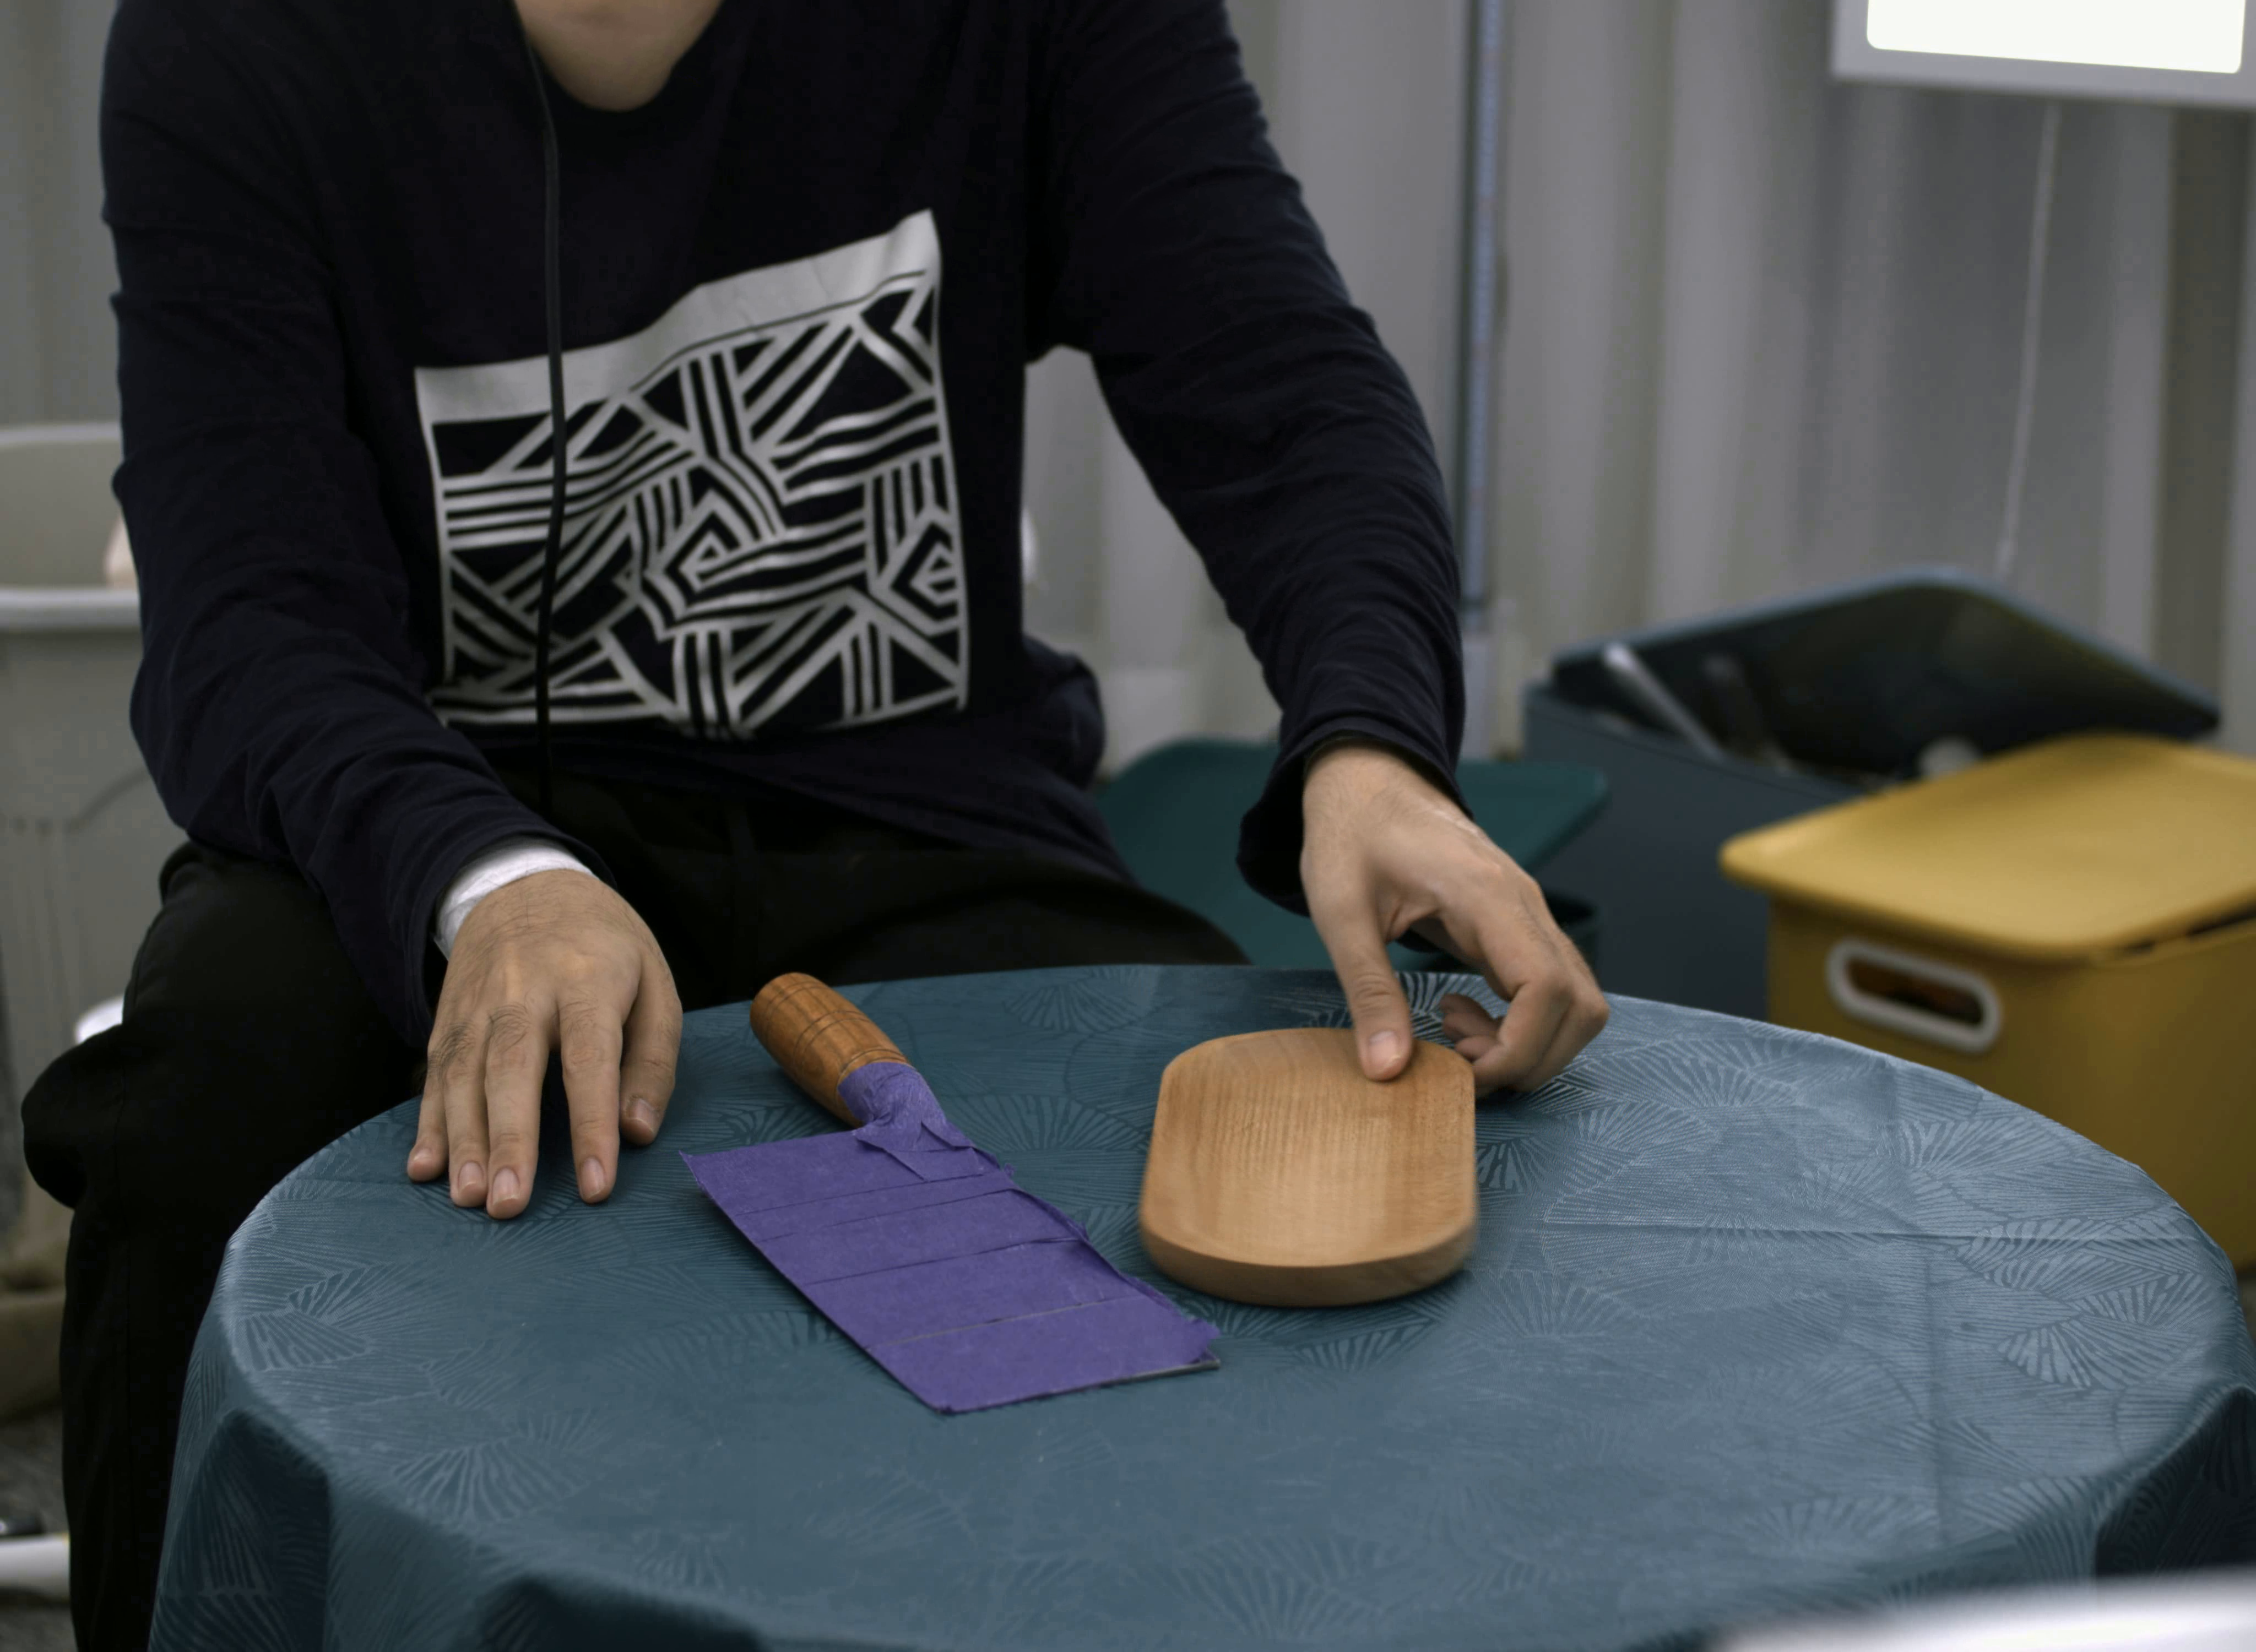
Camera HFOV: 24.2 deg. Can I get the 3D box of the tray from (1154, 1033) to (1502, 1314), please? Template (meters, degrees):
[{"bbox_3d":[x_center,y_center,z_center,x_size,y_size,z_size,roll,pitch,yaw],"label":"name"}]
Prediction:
[{"bbox_3d":[0.059,0.105,1.624,0.101,0.020,0.230,-2,17,-1],"label":"tray"}]

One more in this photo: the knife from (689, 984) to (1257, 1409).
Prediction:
[{"bbox_3d":[-0.075,0.108,1.589,0.104,0.032,0.311,-7,17,-25],"label":"knife"}]
